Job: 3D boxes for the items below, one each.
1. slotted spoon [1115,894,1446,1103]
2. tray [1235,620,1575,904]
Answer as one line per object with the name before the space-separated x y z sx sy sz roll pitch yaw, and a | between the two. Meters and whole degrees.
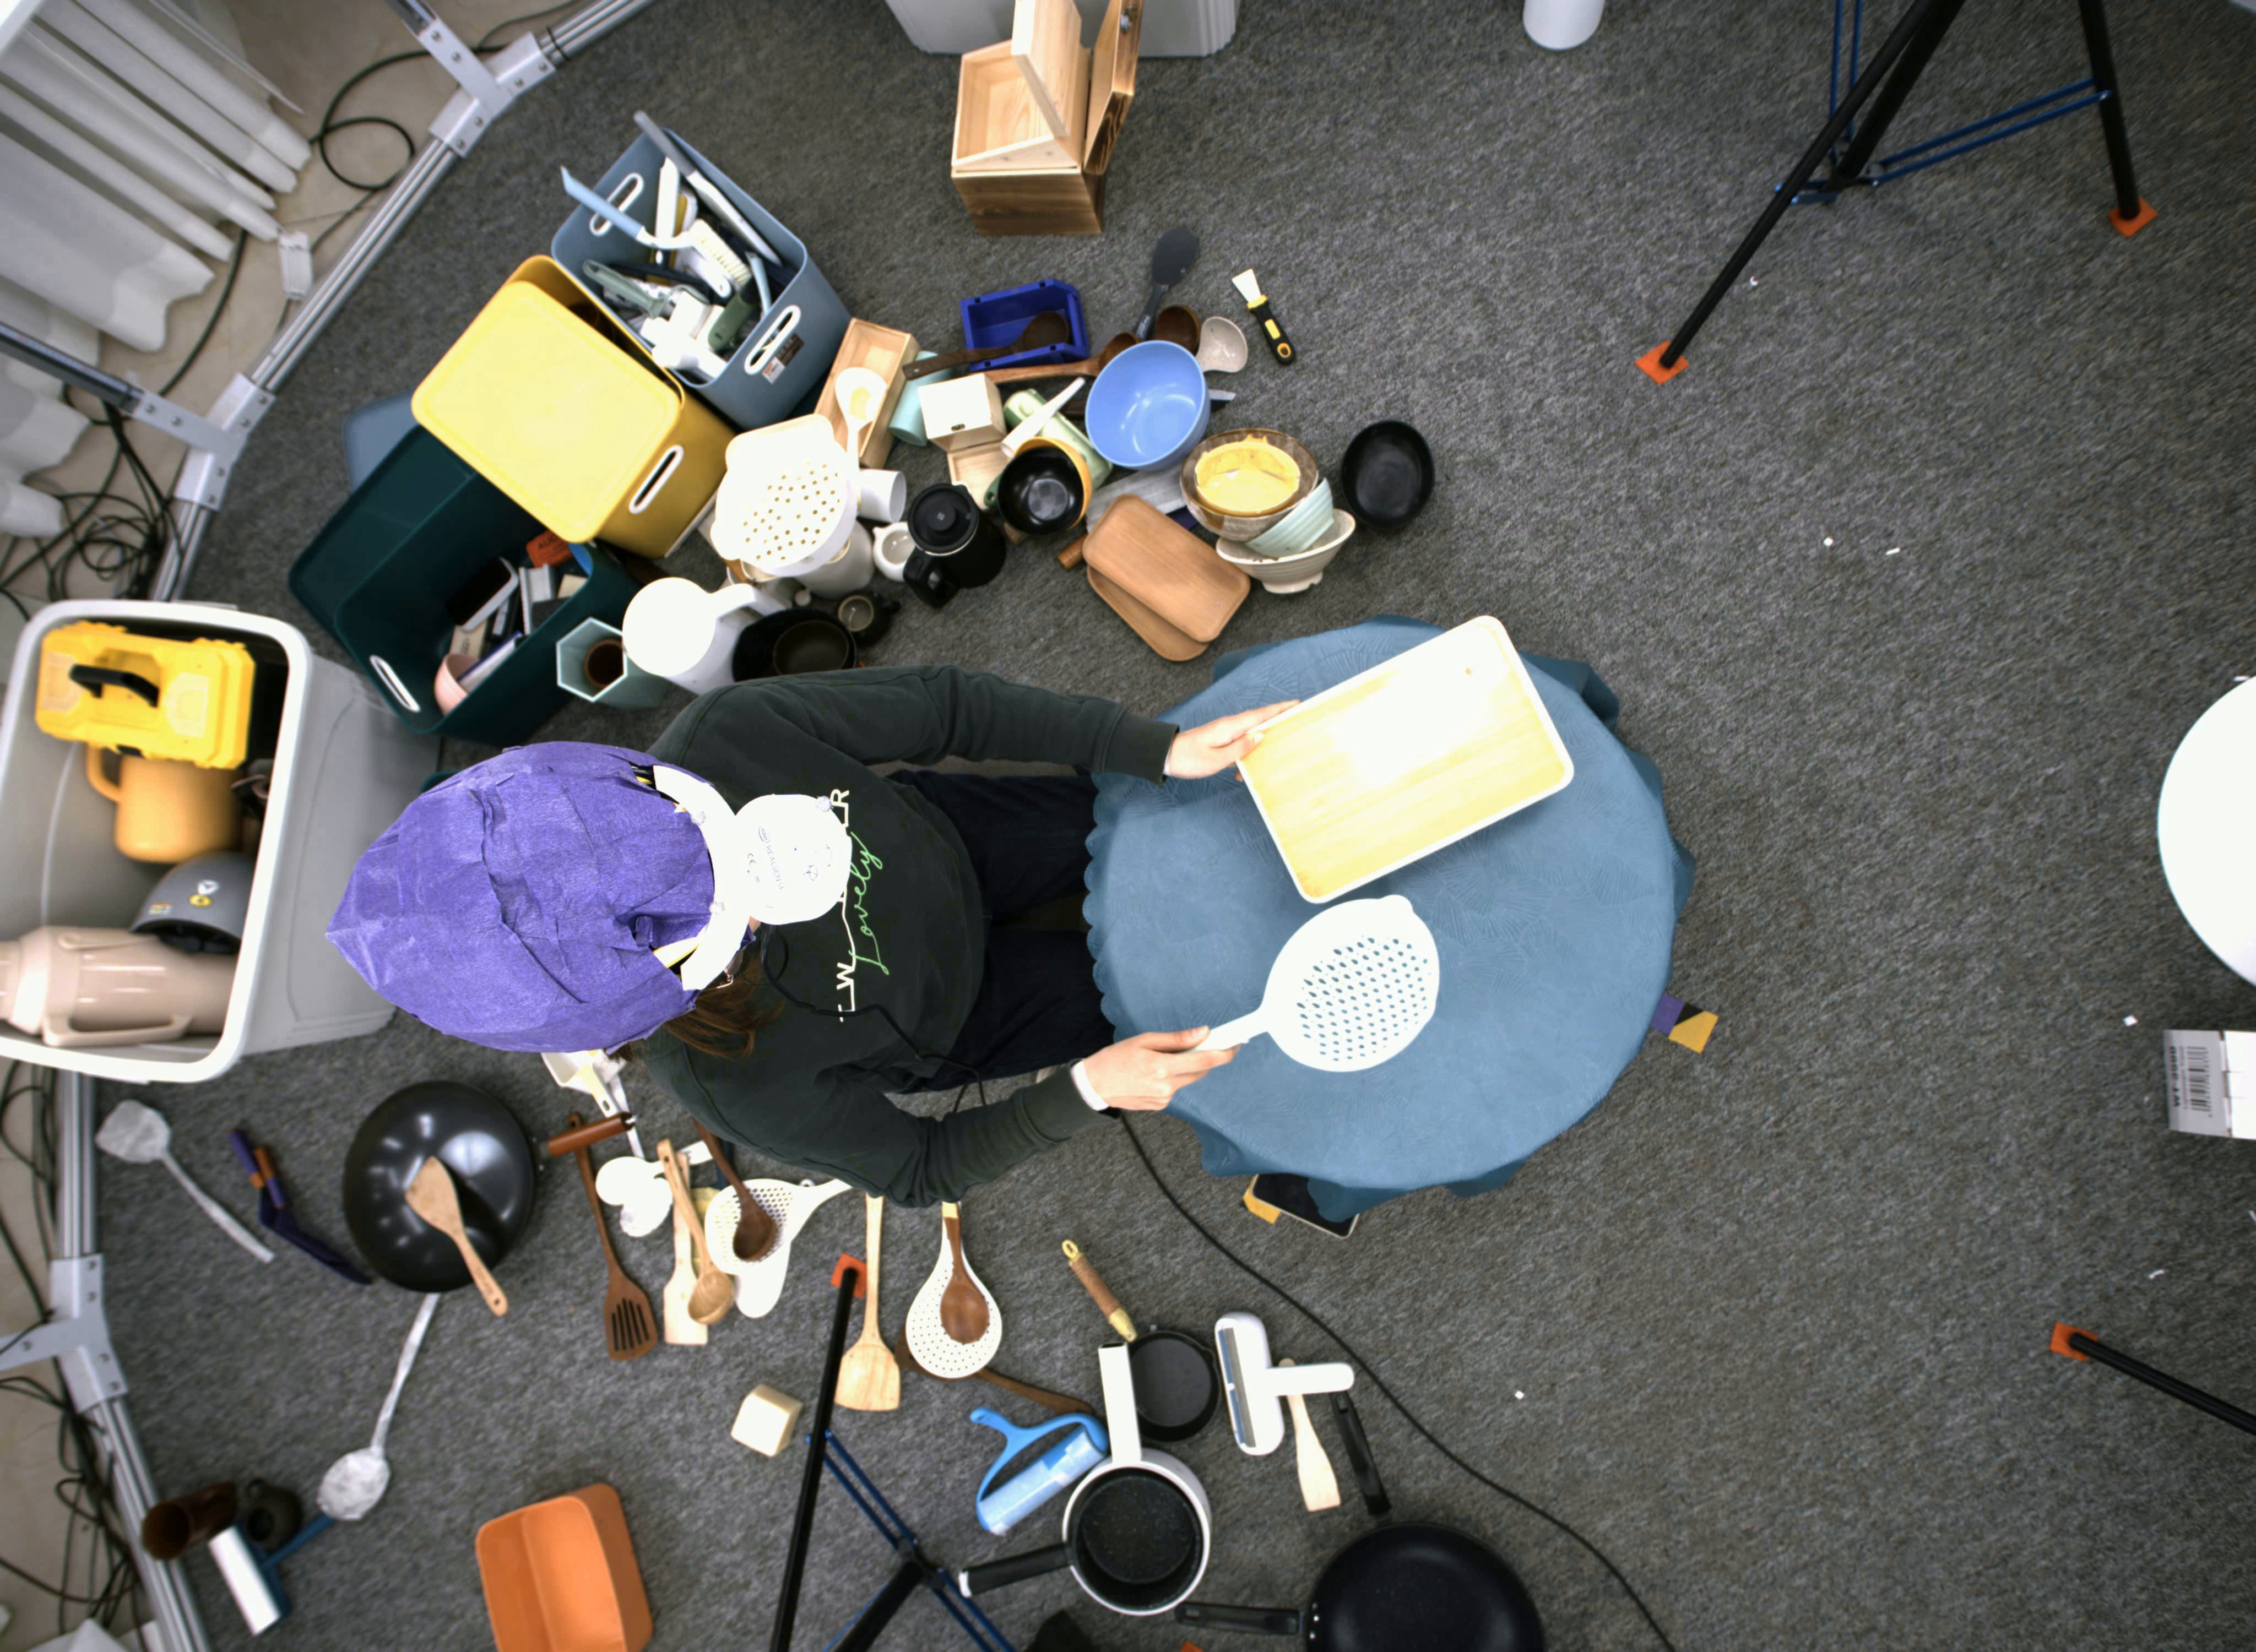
slotted spoon | 0.132 0.187 1.297 0.363 0.076 0.165 -21 47 19
tray | 0.277 -0.065 1.390 0.301 0.027 0.191 -25 87 4
